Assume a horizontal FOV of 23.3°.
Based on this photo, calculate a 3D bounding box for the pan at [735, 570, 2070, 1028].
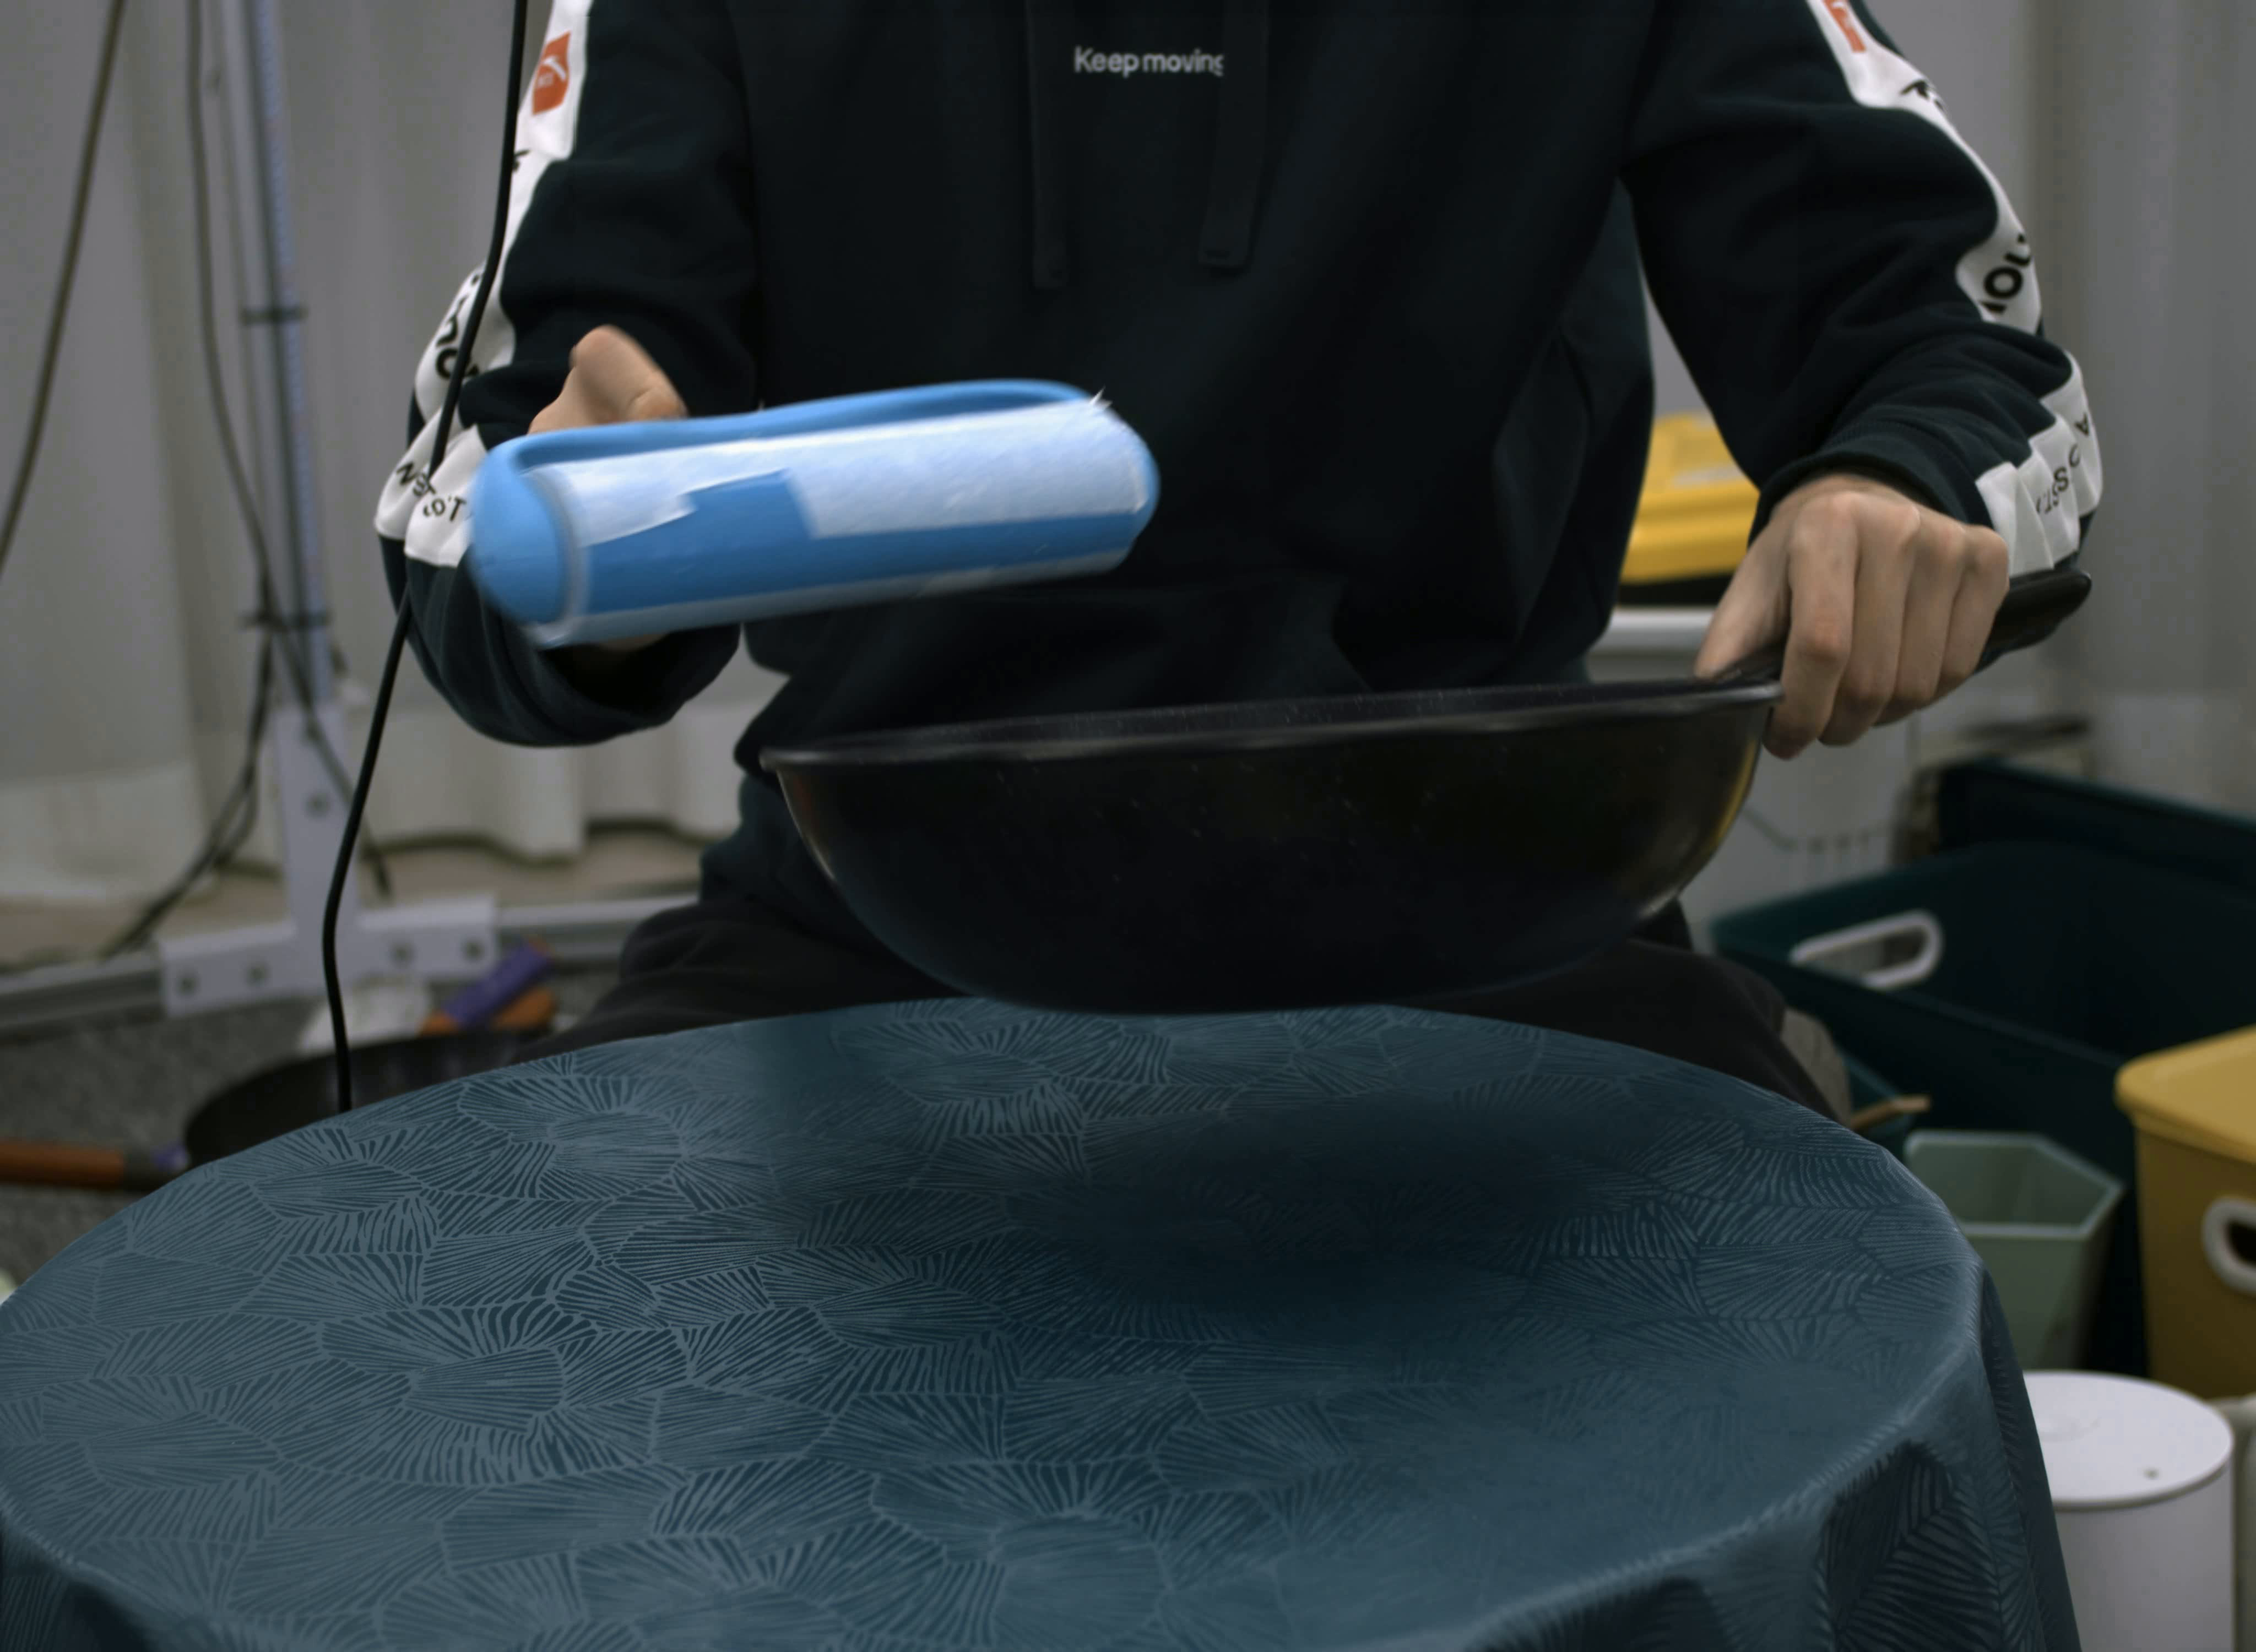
[{"bbox_3d":[0.108,-0.009,1.687,0.474,0.112,0.311,-6,5,-32],"label":"pan"}]

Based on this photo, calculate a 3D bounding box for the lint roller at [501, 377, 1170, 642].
[{"bbox_3d":[-0.120,-0.097,1.701,0.228,0.068,0.181,-12,9,-37],"label":"lint roller"}]
